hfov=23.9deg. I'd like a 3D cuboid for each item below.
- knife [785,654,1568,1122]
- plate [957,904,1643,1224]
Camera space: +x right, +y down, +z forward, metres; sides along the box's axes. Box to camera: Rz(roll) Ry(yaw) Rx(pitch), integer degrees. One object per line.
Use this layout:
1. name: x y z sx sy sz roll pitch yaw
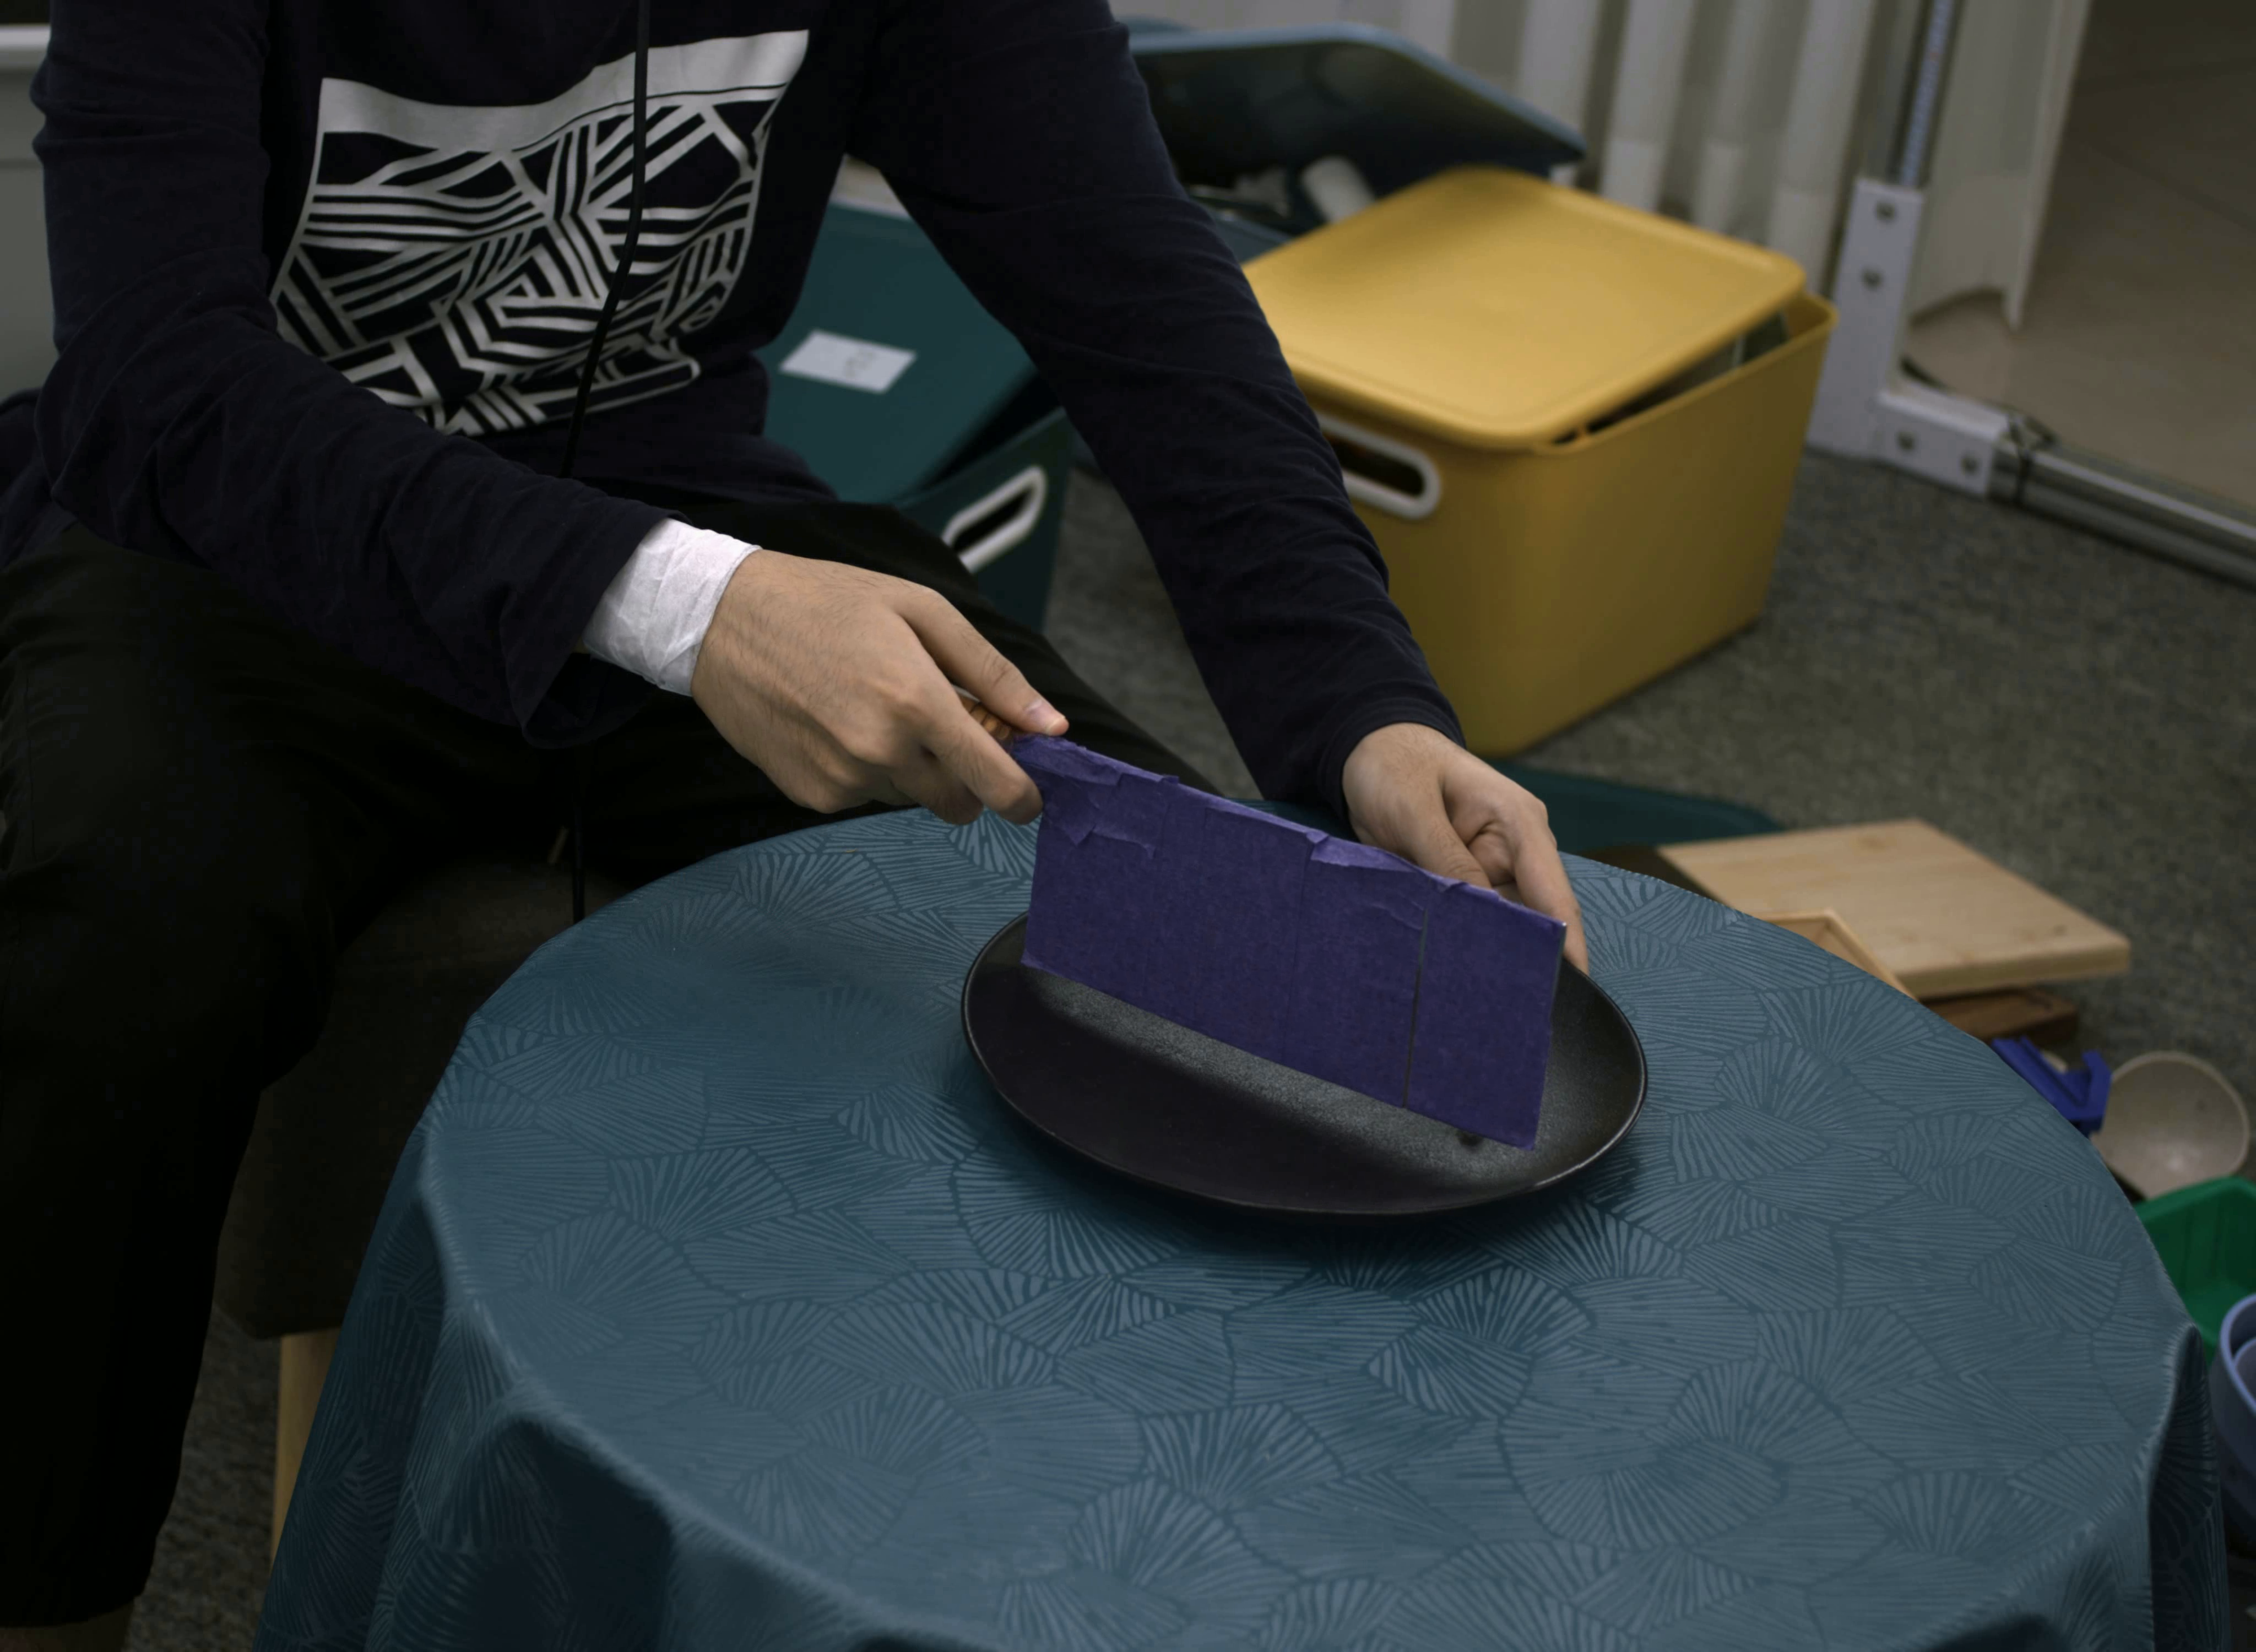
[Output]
1. knife: 0.010 0.024 1.862 0.317 0.103 0.032 20 26 29
2. plate: 0.059 0.081 1.875 0.243 0.023 0.246 5 27 -3
